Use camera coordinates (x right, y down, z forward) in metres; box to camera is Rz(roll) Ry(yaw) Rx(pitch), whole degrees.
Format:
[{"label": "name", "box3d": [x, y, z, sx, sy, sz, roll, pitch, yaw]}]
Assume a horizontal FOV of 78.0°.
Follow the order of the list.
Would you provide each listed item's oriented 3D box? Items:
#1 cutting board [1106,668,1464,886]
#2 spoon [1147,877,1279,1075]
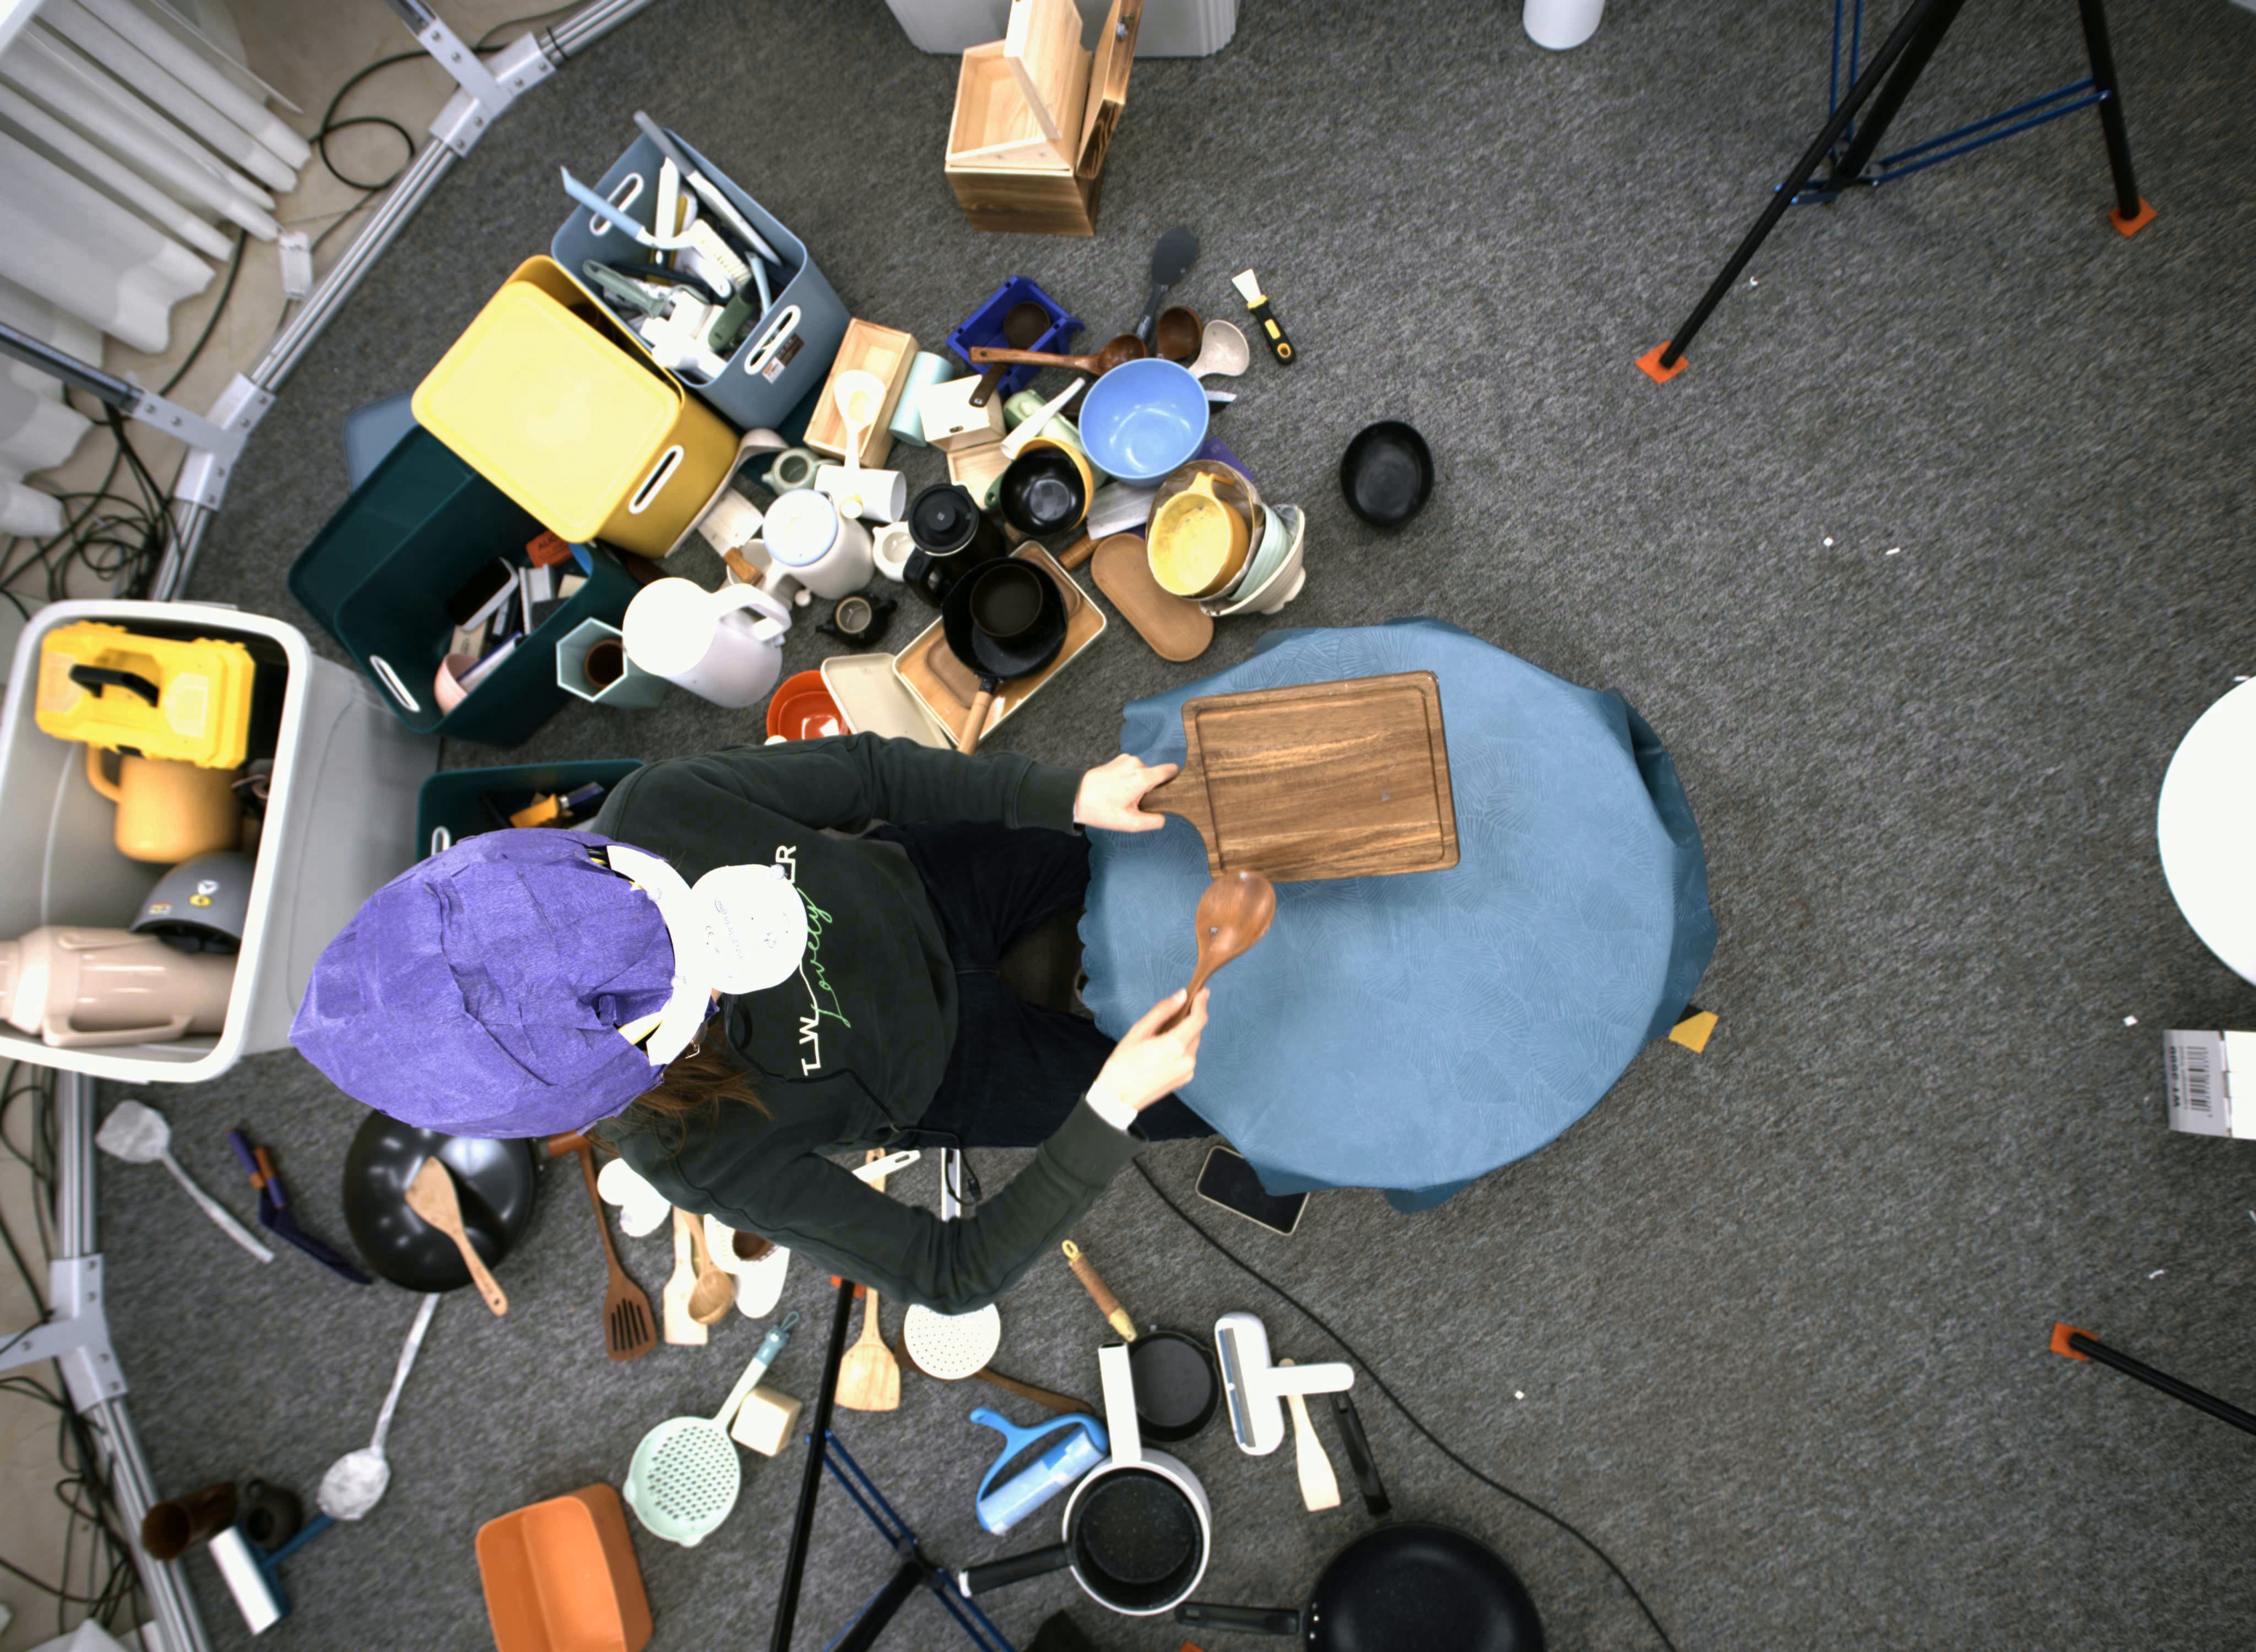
[{"label": "cutting board", "box3d": [0.145, -0.039, 1.370, 0.355, 0.023, 0.204, -5, 110, 21]}, {"label": "spoon", "box3d": [0.075, 0.140, 1.313, 0.075, 0.017, 0.212, 24, 69, 20]}]
